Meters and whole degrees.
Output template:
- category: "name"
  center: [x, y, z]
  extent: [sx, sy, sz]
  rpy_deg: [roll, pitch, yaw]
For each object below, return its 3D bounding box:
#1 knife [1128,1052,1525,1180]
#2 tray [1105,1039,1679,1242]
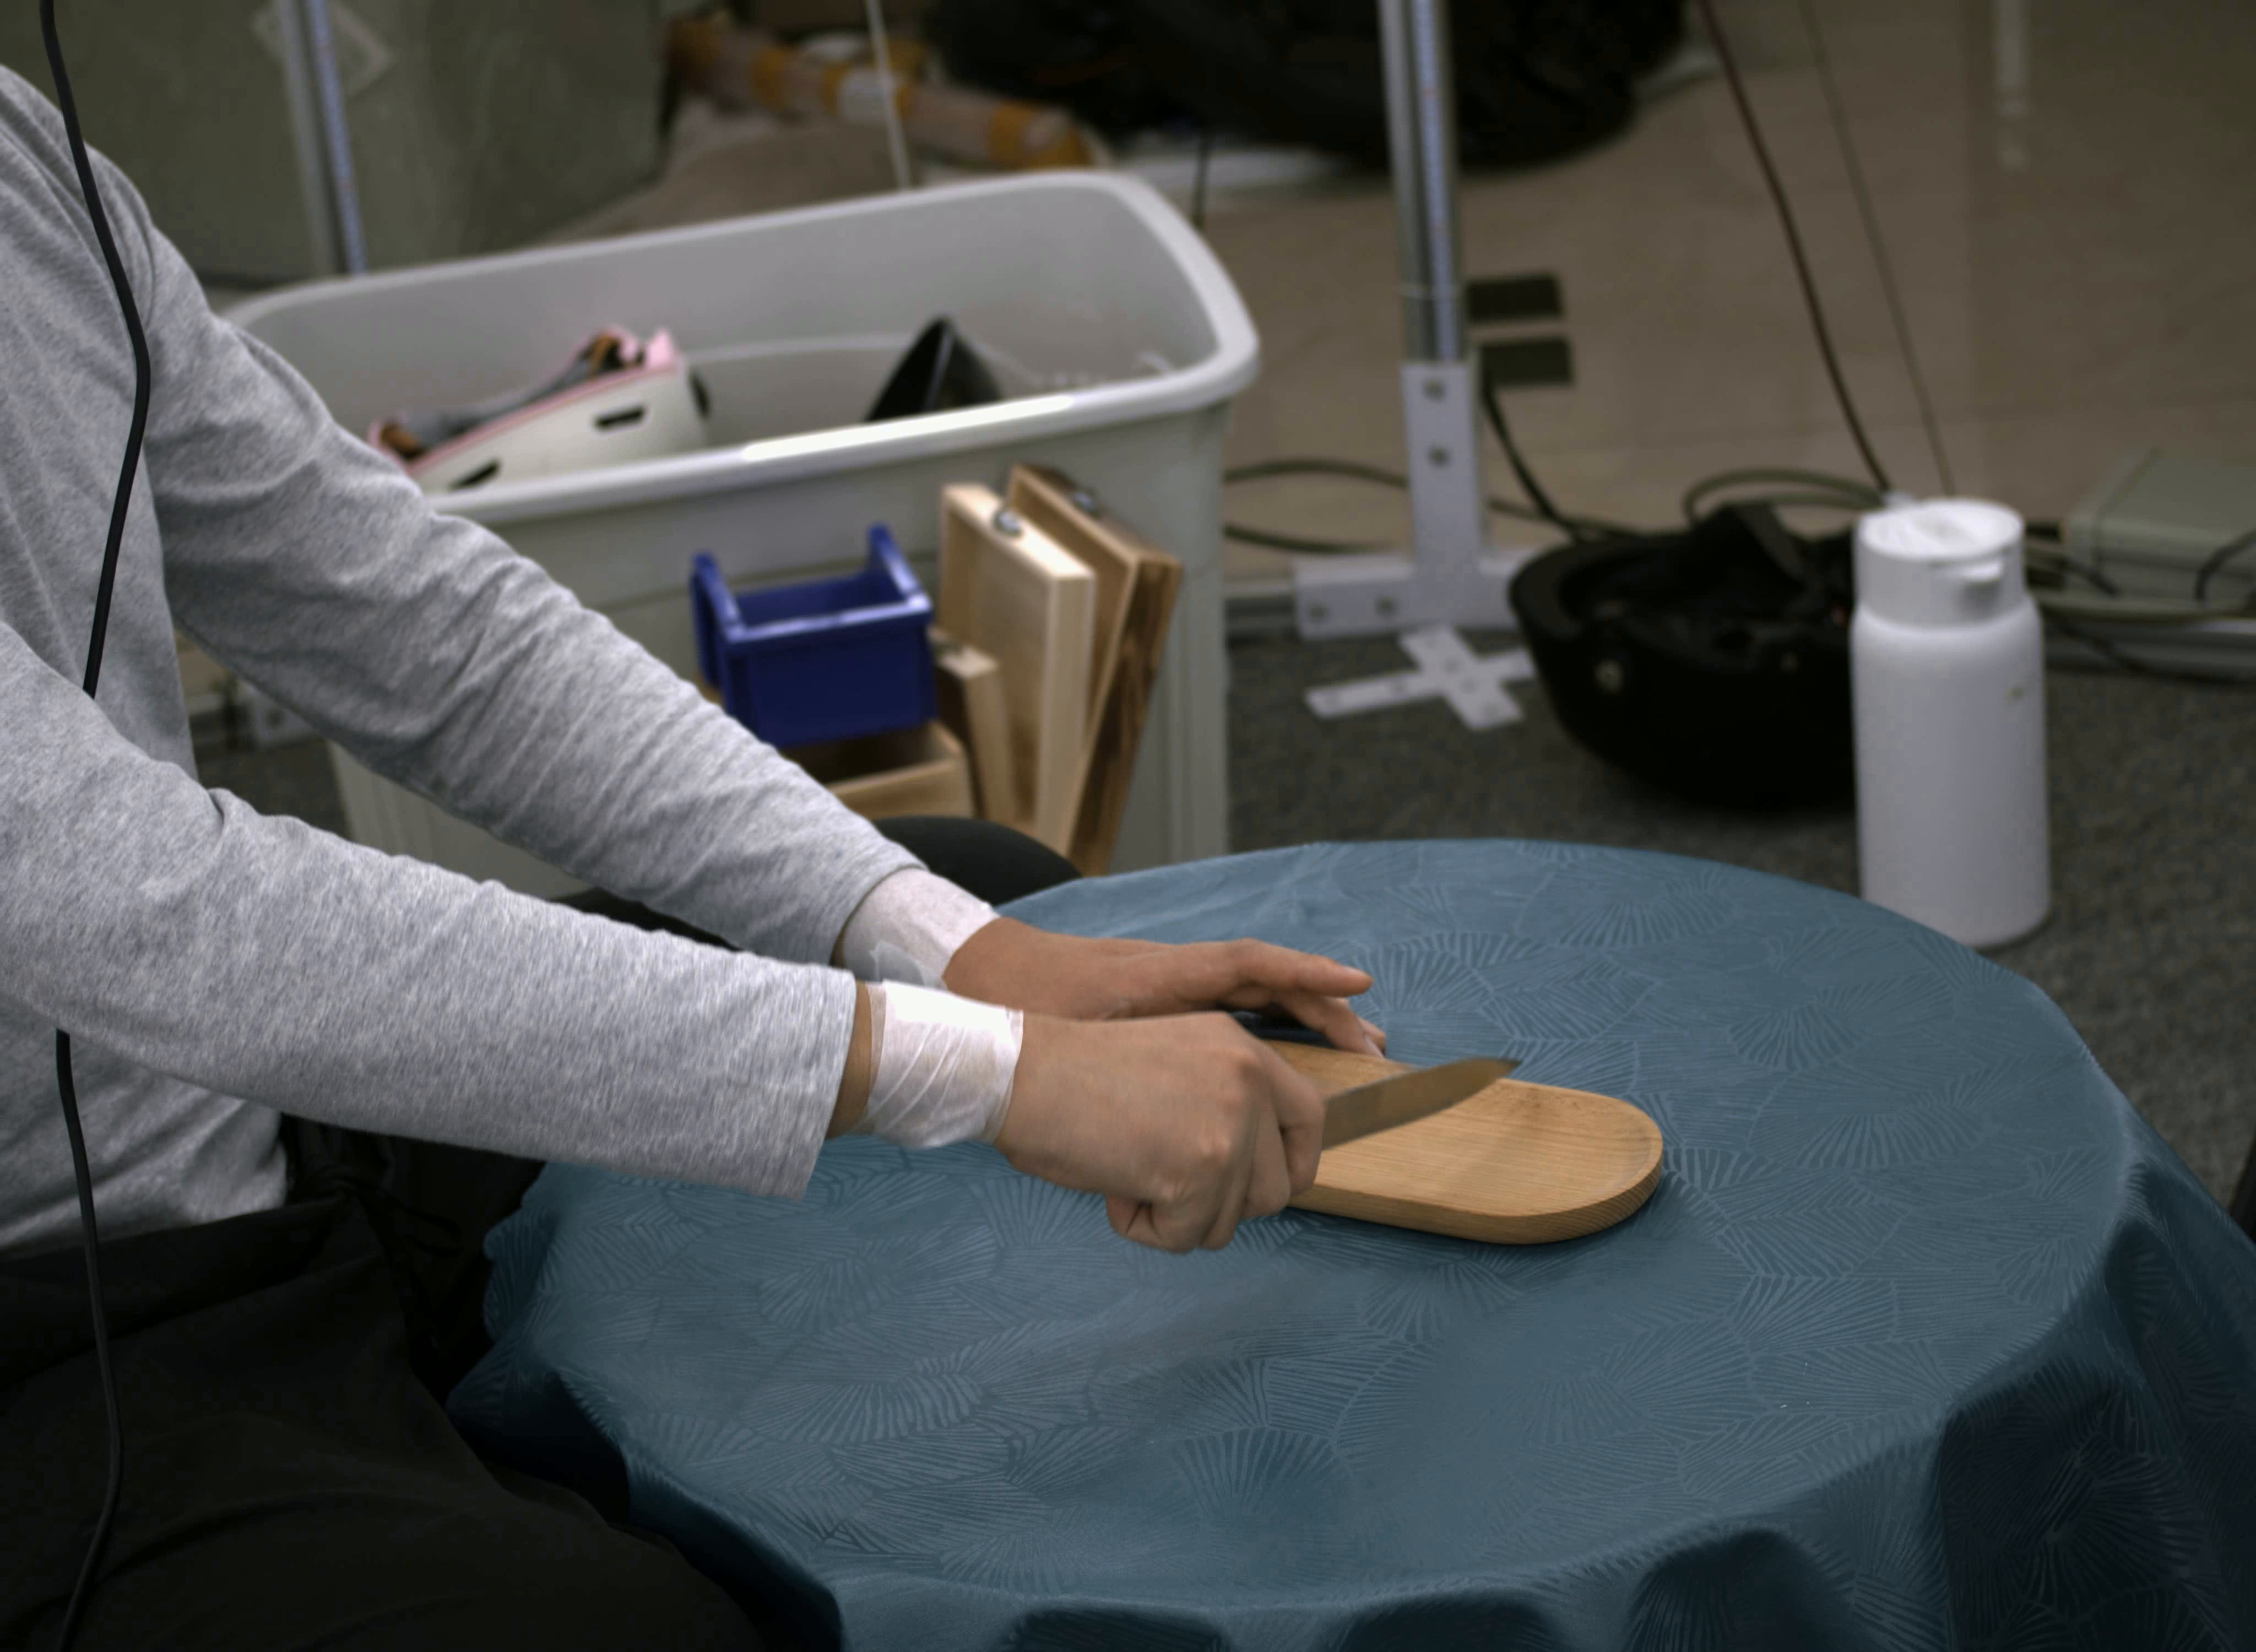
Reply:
- category: "knife"
  center: [0.078, 0.101, 2.067]
  extent: [0.016, 0.025, 0.237]
  rpy_deg: [14, 15, 37]
- category: "tray"
  center: [0.098, 0.119, 2.152]
  extent: [0.230, 0.020, 0.100]
  rpy_deg: [9, 31, 27]
